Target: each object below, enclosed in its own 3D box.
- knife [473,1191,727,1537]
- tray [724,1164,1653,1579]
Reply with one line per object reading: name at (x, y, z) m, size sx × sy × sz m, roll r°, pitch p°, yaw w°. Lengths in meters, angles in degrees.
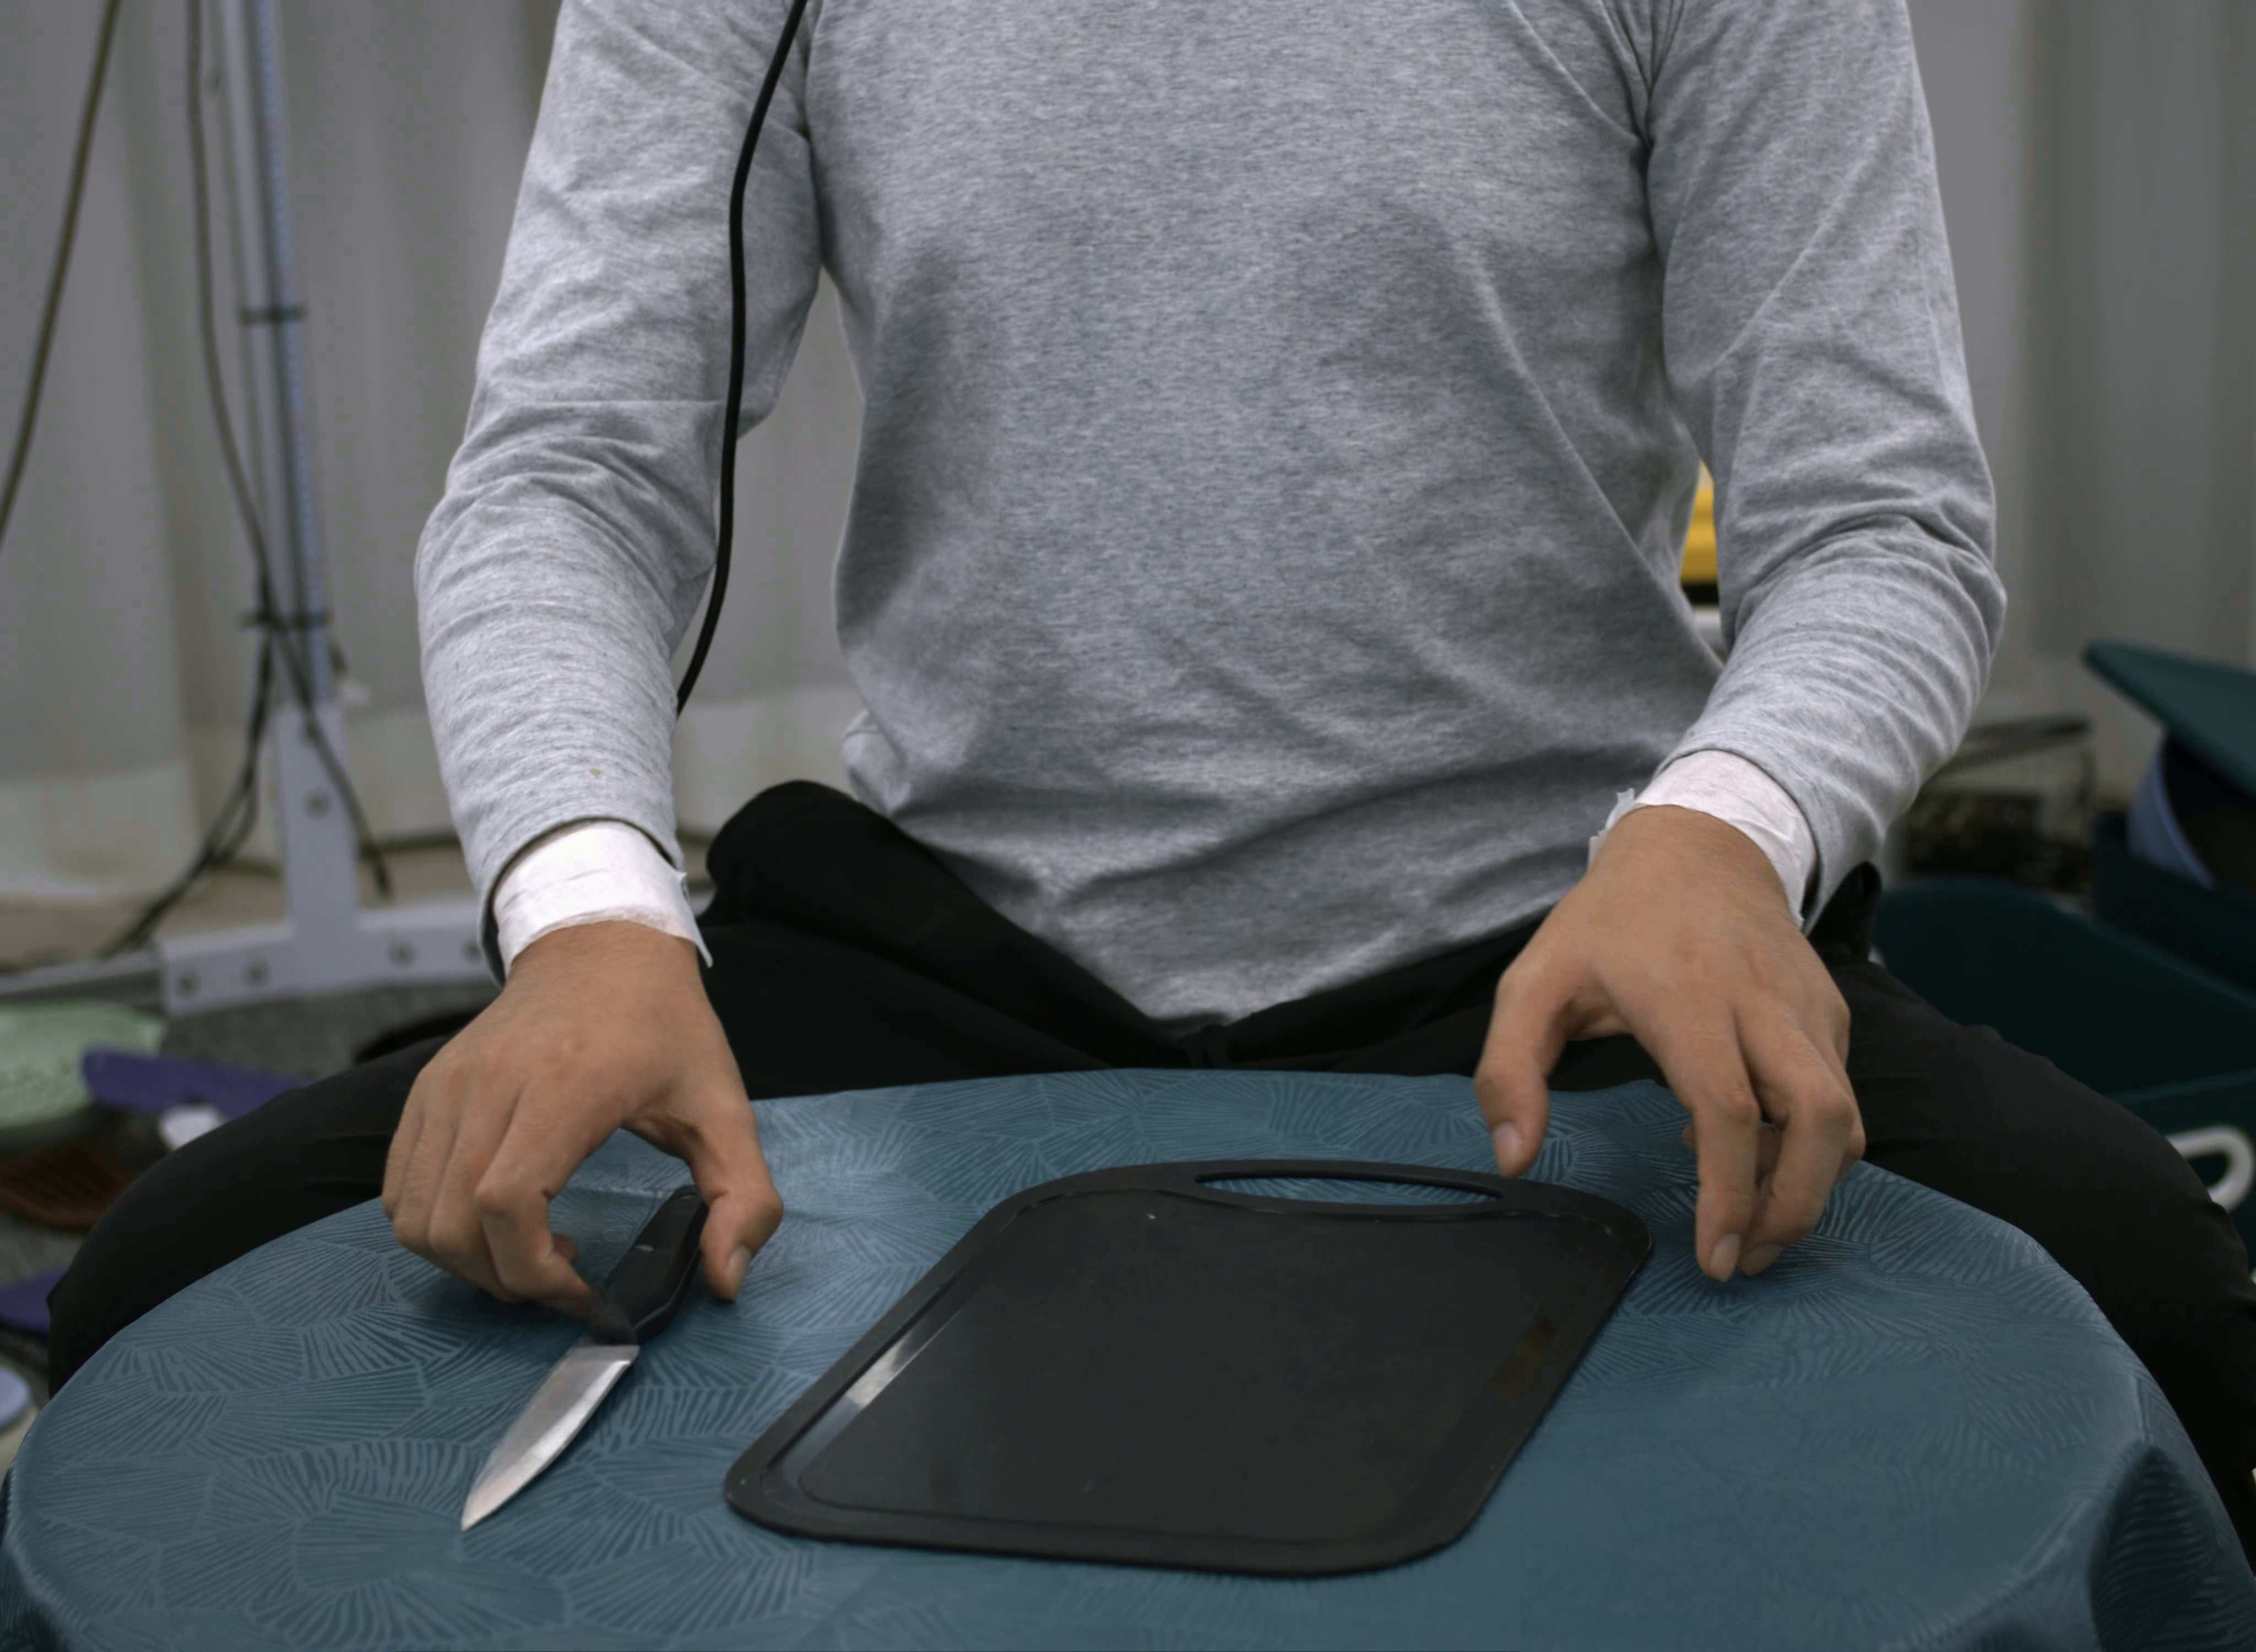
knife at (-0.155, 0.154, 1.577) m, size 0.024 × 0.016 × 0.239 m, roll -1°, pitch 17°, yaw 11°
tray at (0.026, 0.148, 1.576) m, size 0.211 × 0.010 × 0.326 m, roll 2°, pitch 15°, yaw 18°
